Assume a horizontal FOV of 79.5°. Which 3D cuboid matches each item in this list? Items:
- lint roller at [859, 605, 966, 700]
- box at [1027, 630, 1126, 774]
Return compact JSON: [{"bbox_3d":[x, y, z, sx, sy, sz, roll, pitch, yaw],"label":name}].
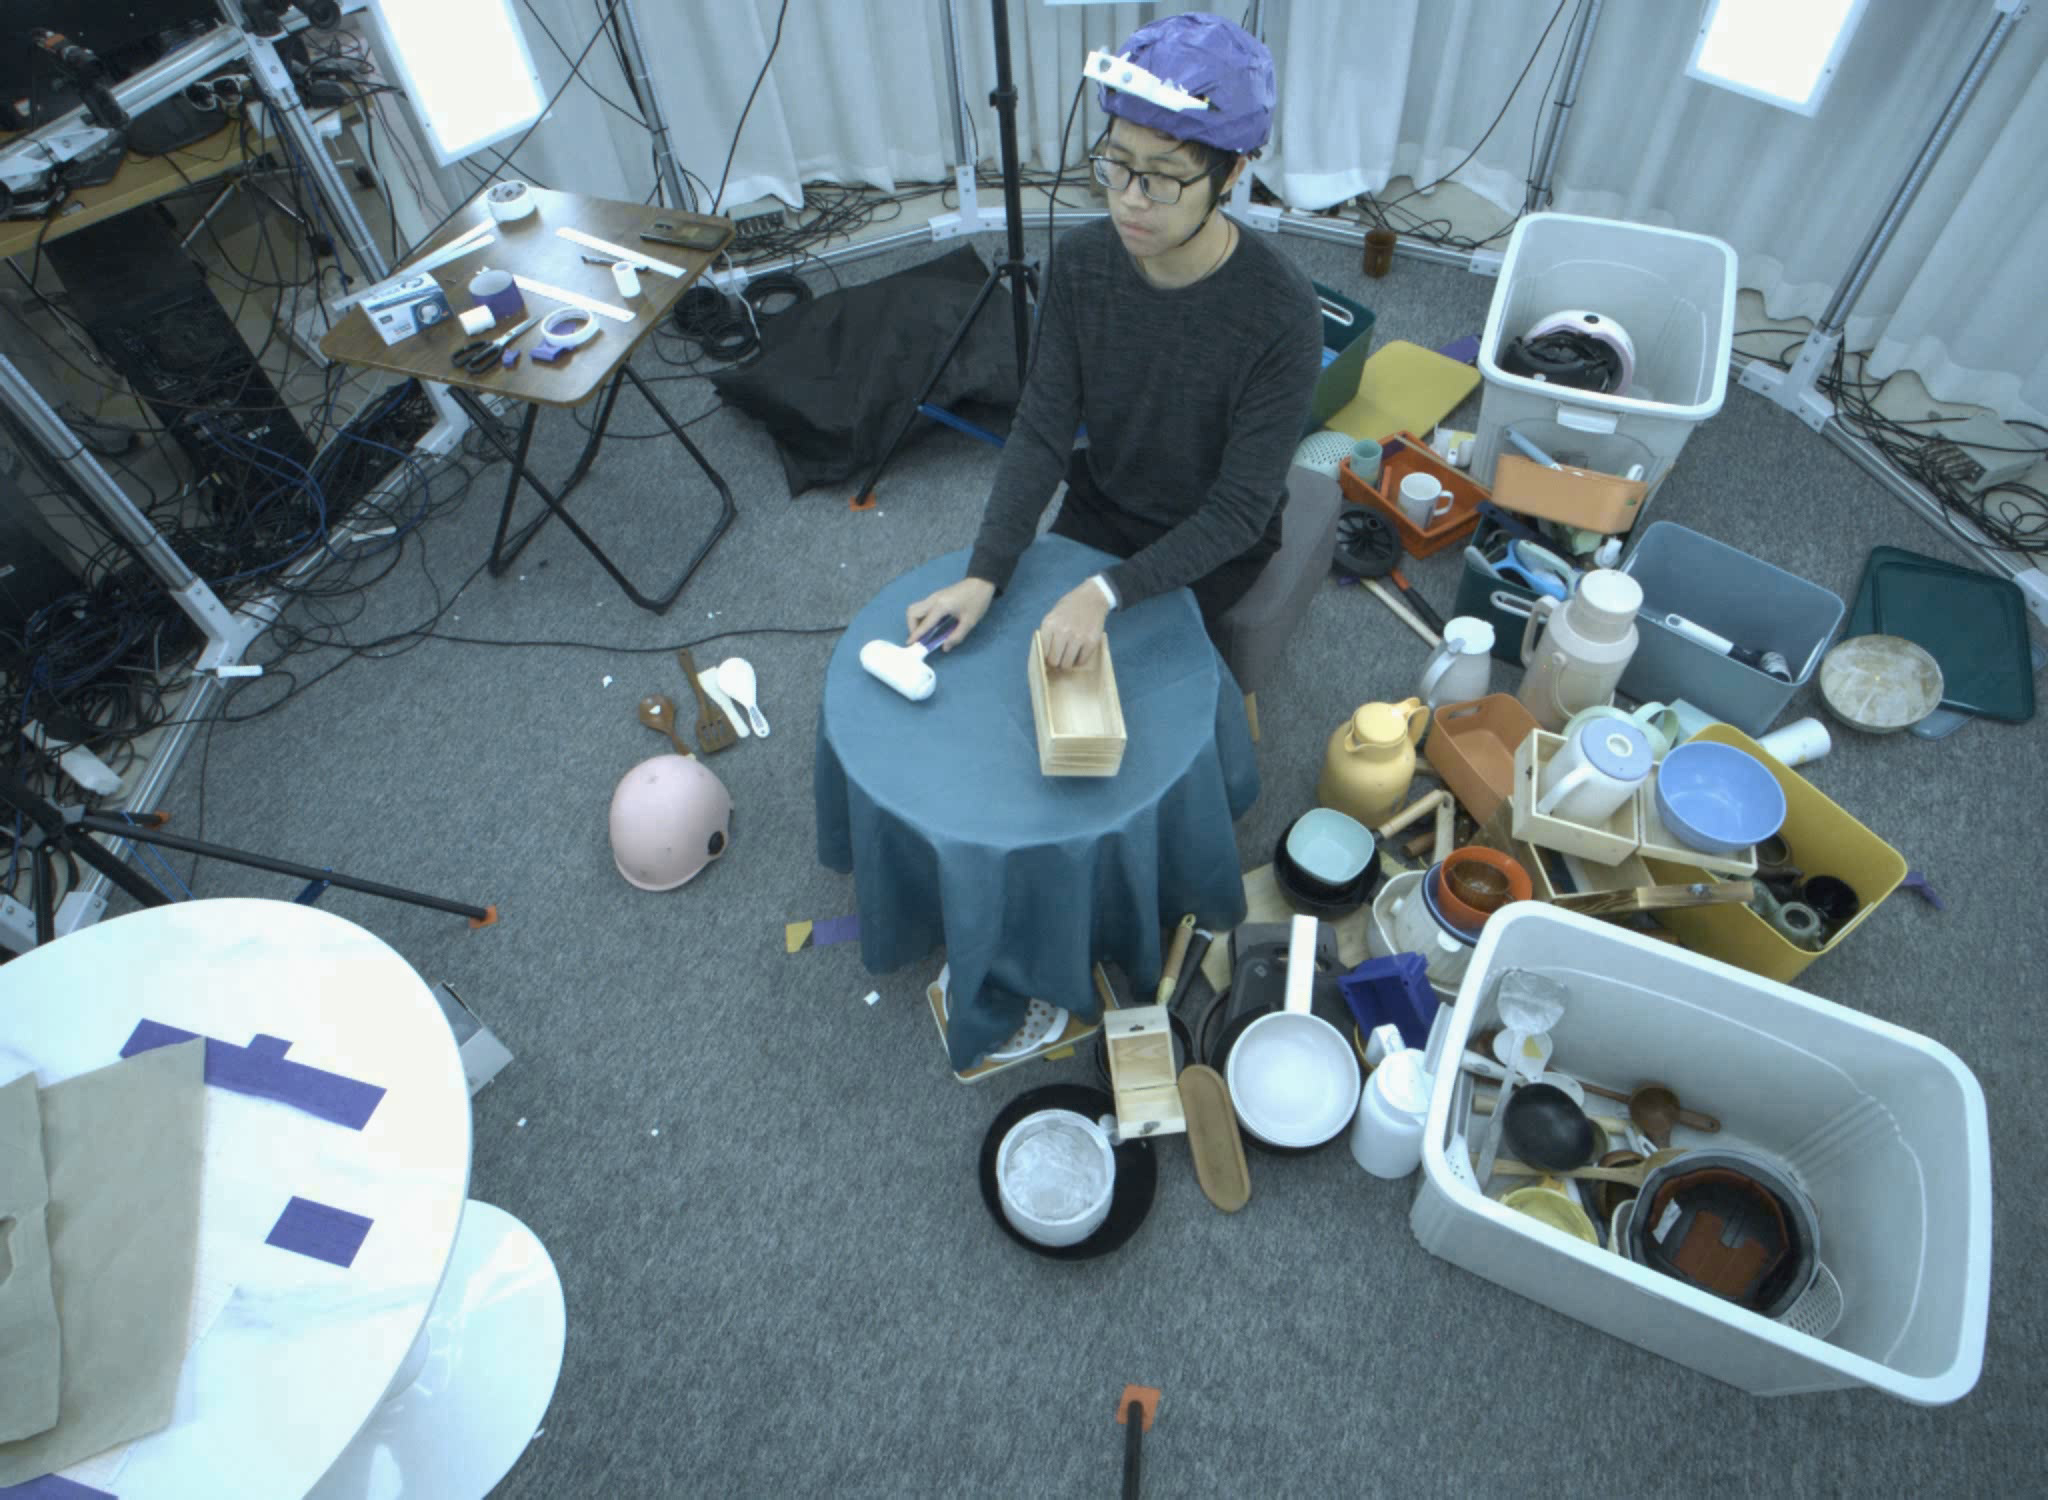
[{"bbox_3d":[-0.153,-0.166,1.869,0.130,0.051,0.181,34,72,24],"label":"lint roller"},{"bbox_3d":[0.070,-0.070,1.741,0.108,0.080,0.208,1,48,-10],"label":"box"}]
